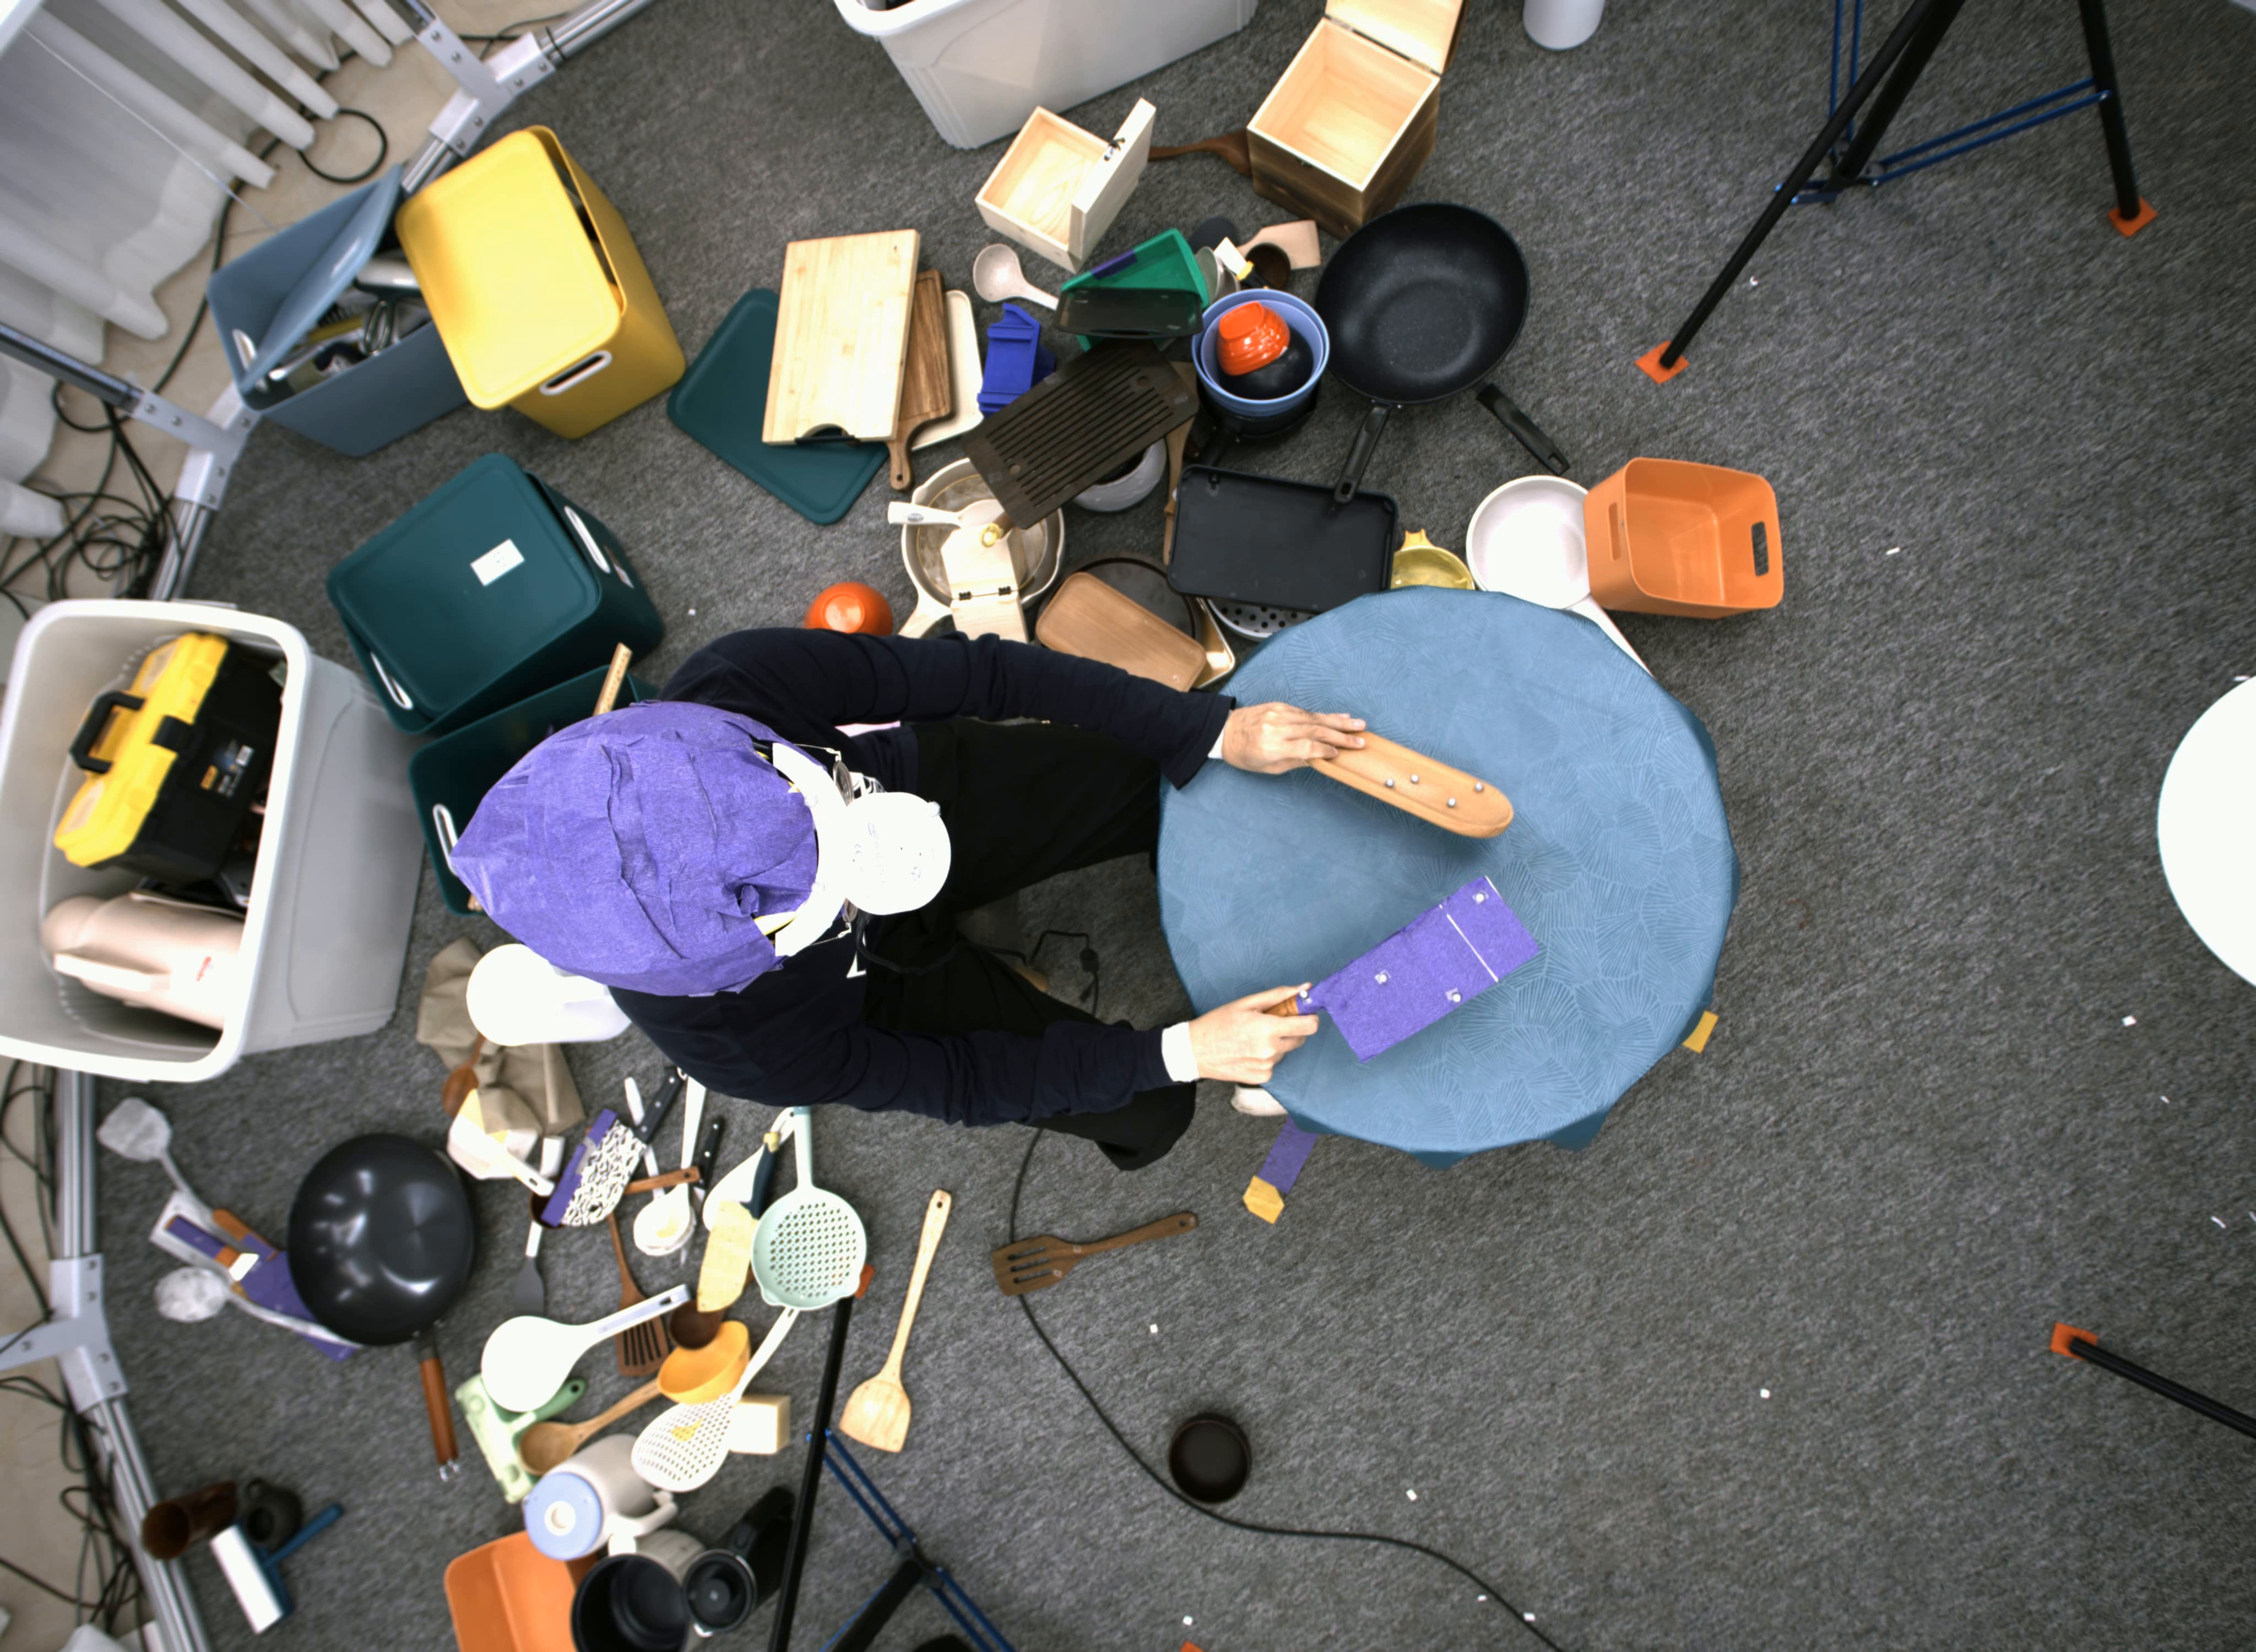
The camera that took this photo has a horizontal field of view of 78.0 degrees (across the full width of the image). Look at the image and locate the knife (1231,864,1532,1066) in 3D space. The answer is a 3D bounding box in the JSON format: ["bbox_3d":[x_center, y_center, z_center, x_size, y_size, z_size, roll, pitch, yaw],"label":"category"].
[{"bbox_3d":[0.242,0.165,1.343,0.320,0.032,0.103,-39,81,24],"label":"knife"}]

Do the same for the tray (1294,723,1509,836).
[{"bbox_3d":[0.275,-0.050,1.399,0.231,0.099,0.021,24,122,20],"label":"tray"}]
